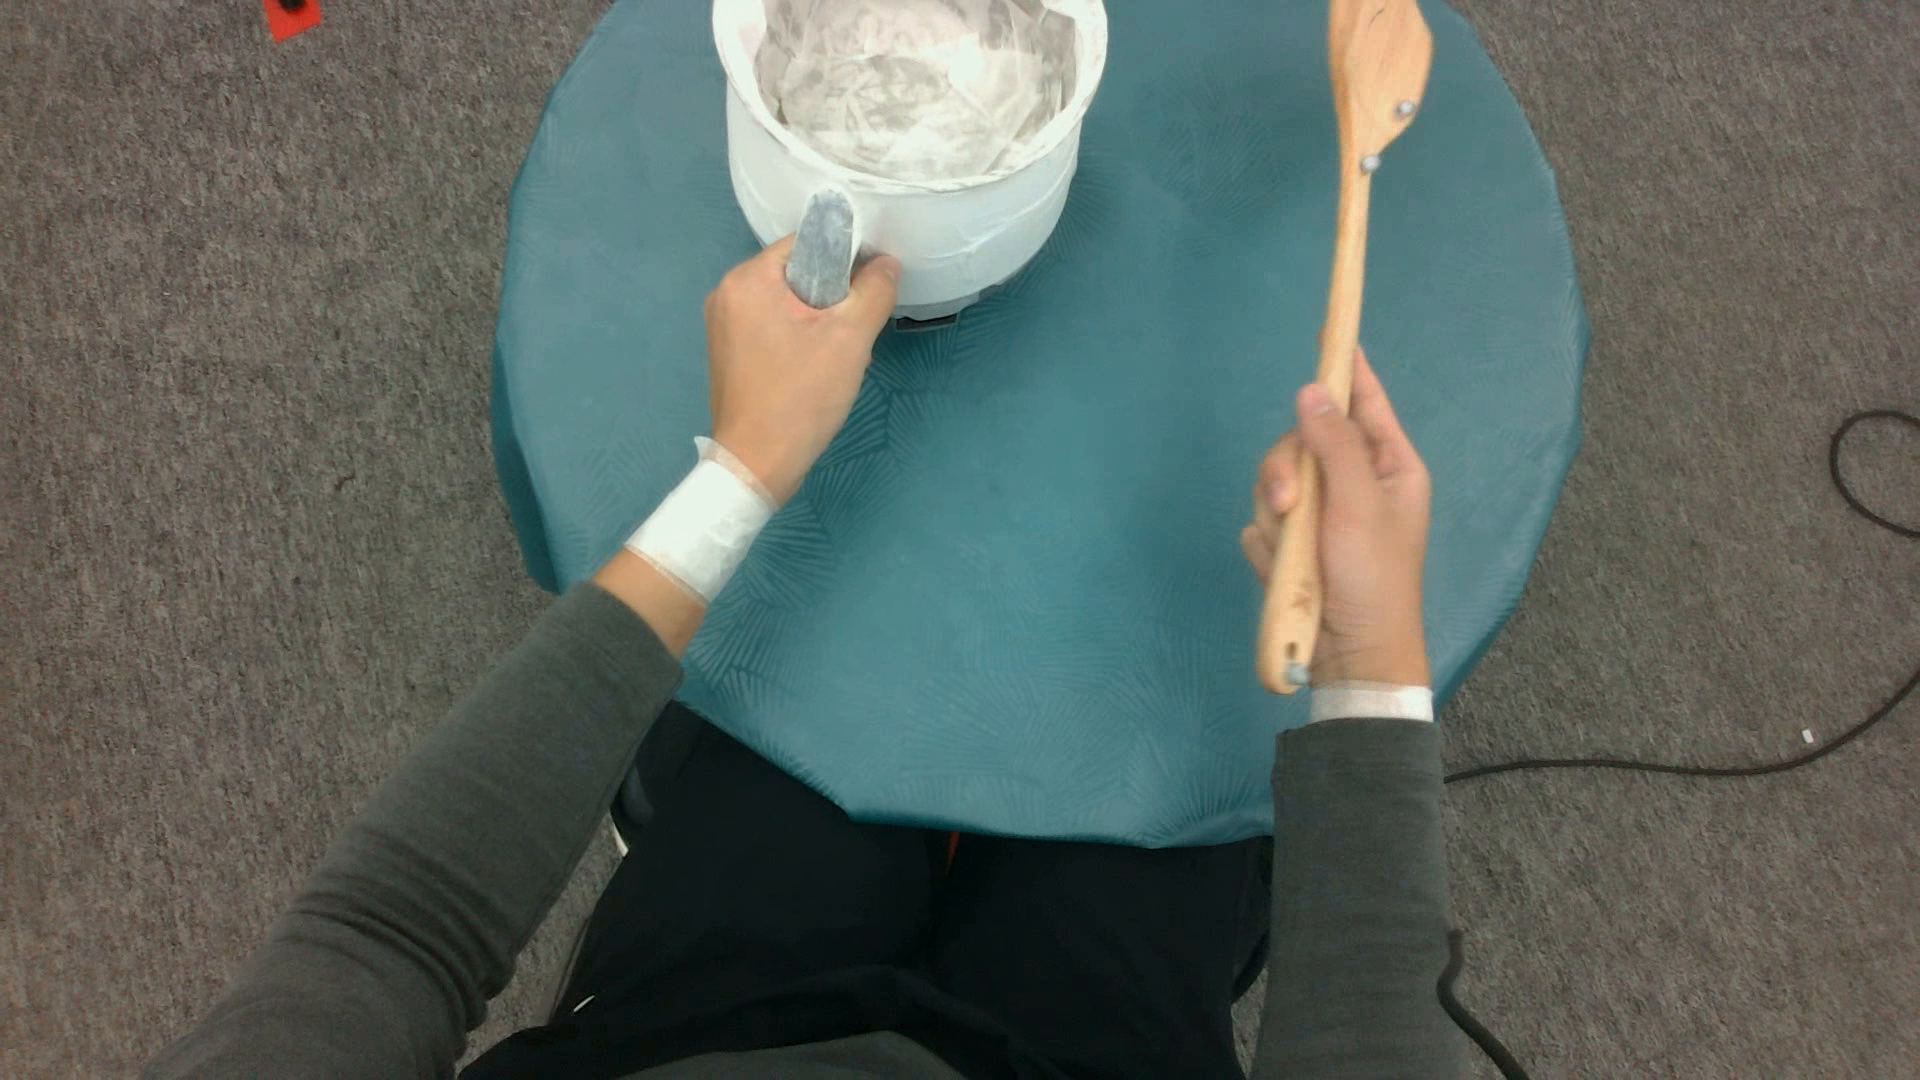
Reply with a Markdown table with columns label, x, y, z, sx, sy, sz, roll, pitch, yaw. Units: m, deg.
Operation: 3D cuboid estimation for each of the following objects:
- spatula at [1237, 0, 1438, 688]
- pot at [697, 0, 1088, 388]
| label | x | y | z | sx | sy | sz | roll | pitch | yaw |
| --- | --- | --- | --- | --- | --- | --- | --- | --- | --- |
| spatula | 0.176 | -0.116 | 0.661 | 0.096 | 0.018 | 0.392 | 23 | 68 | -27 |
| pot | -0.044 | -0.192 | 0.672 | 0.179 | 0.136 | 0.234 | 19 | 69 | 1 |
